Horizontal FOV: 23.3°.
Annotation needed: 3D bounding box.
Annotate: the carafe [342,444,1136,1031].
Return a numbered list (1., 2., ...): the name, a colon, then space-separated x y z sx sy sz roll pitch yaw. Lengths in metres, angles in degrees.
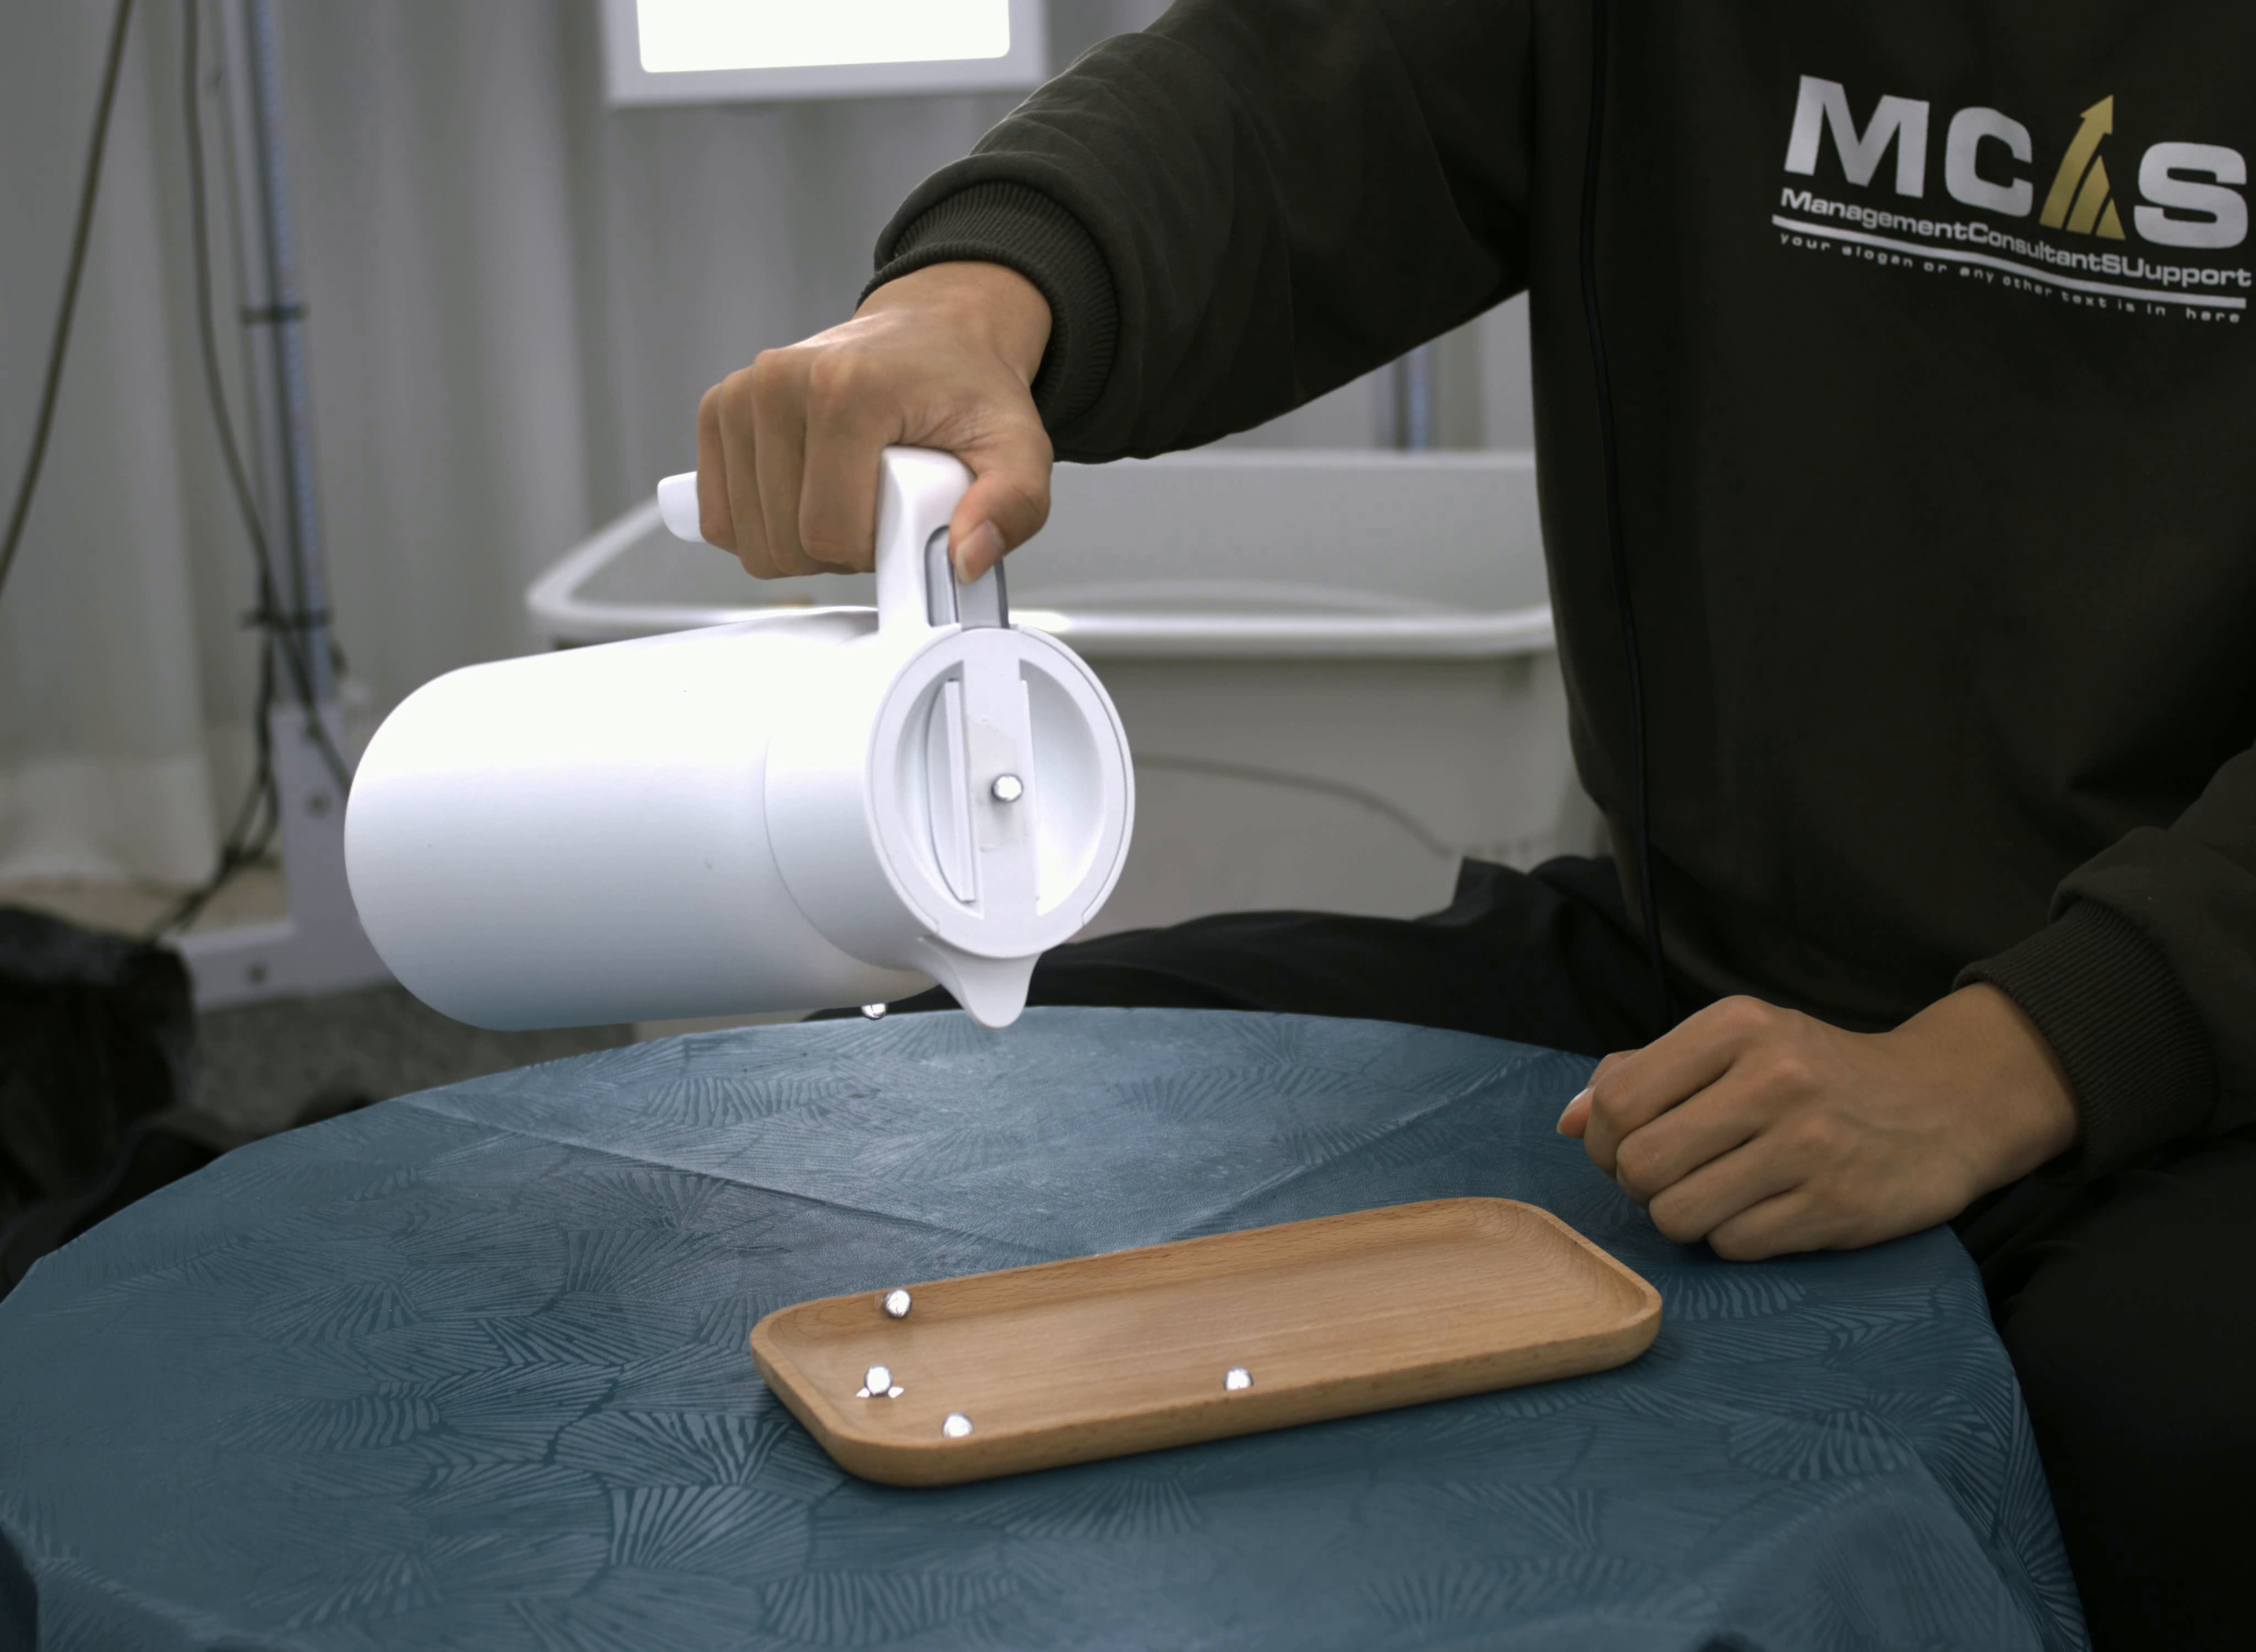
1. carafe: -0.122 -0.019 1.645 0.123 0.173 0.269 -4 -2 -38

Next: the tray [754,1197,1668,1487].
1. tray: 0.024 0.147 1.565 0.249 0.023 0.132 -7 18 -18
